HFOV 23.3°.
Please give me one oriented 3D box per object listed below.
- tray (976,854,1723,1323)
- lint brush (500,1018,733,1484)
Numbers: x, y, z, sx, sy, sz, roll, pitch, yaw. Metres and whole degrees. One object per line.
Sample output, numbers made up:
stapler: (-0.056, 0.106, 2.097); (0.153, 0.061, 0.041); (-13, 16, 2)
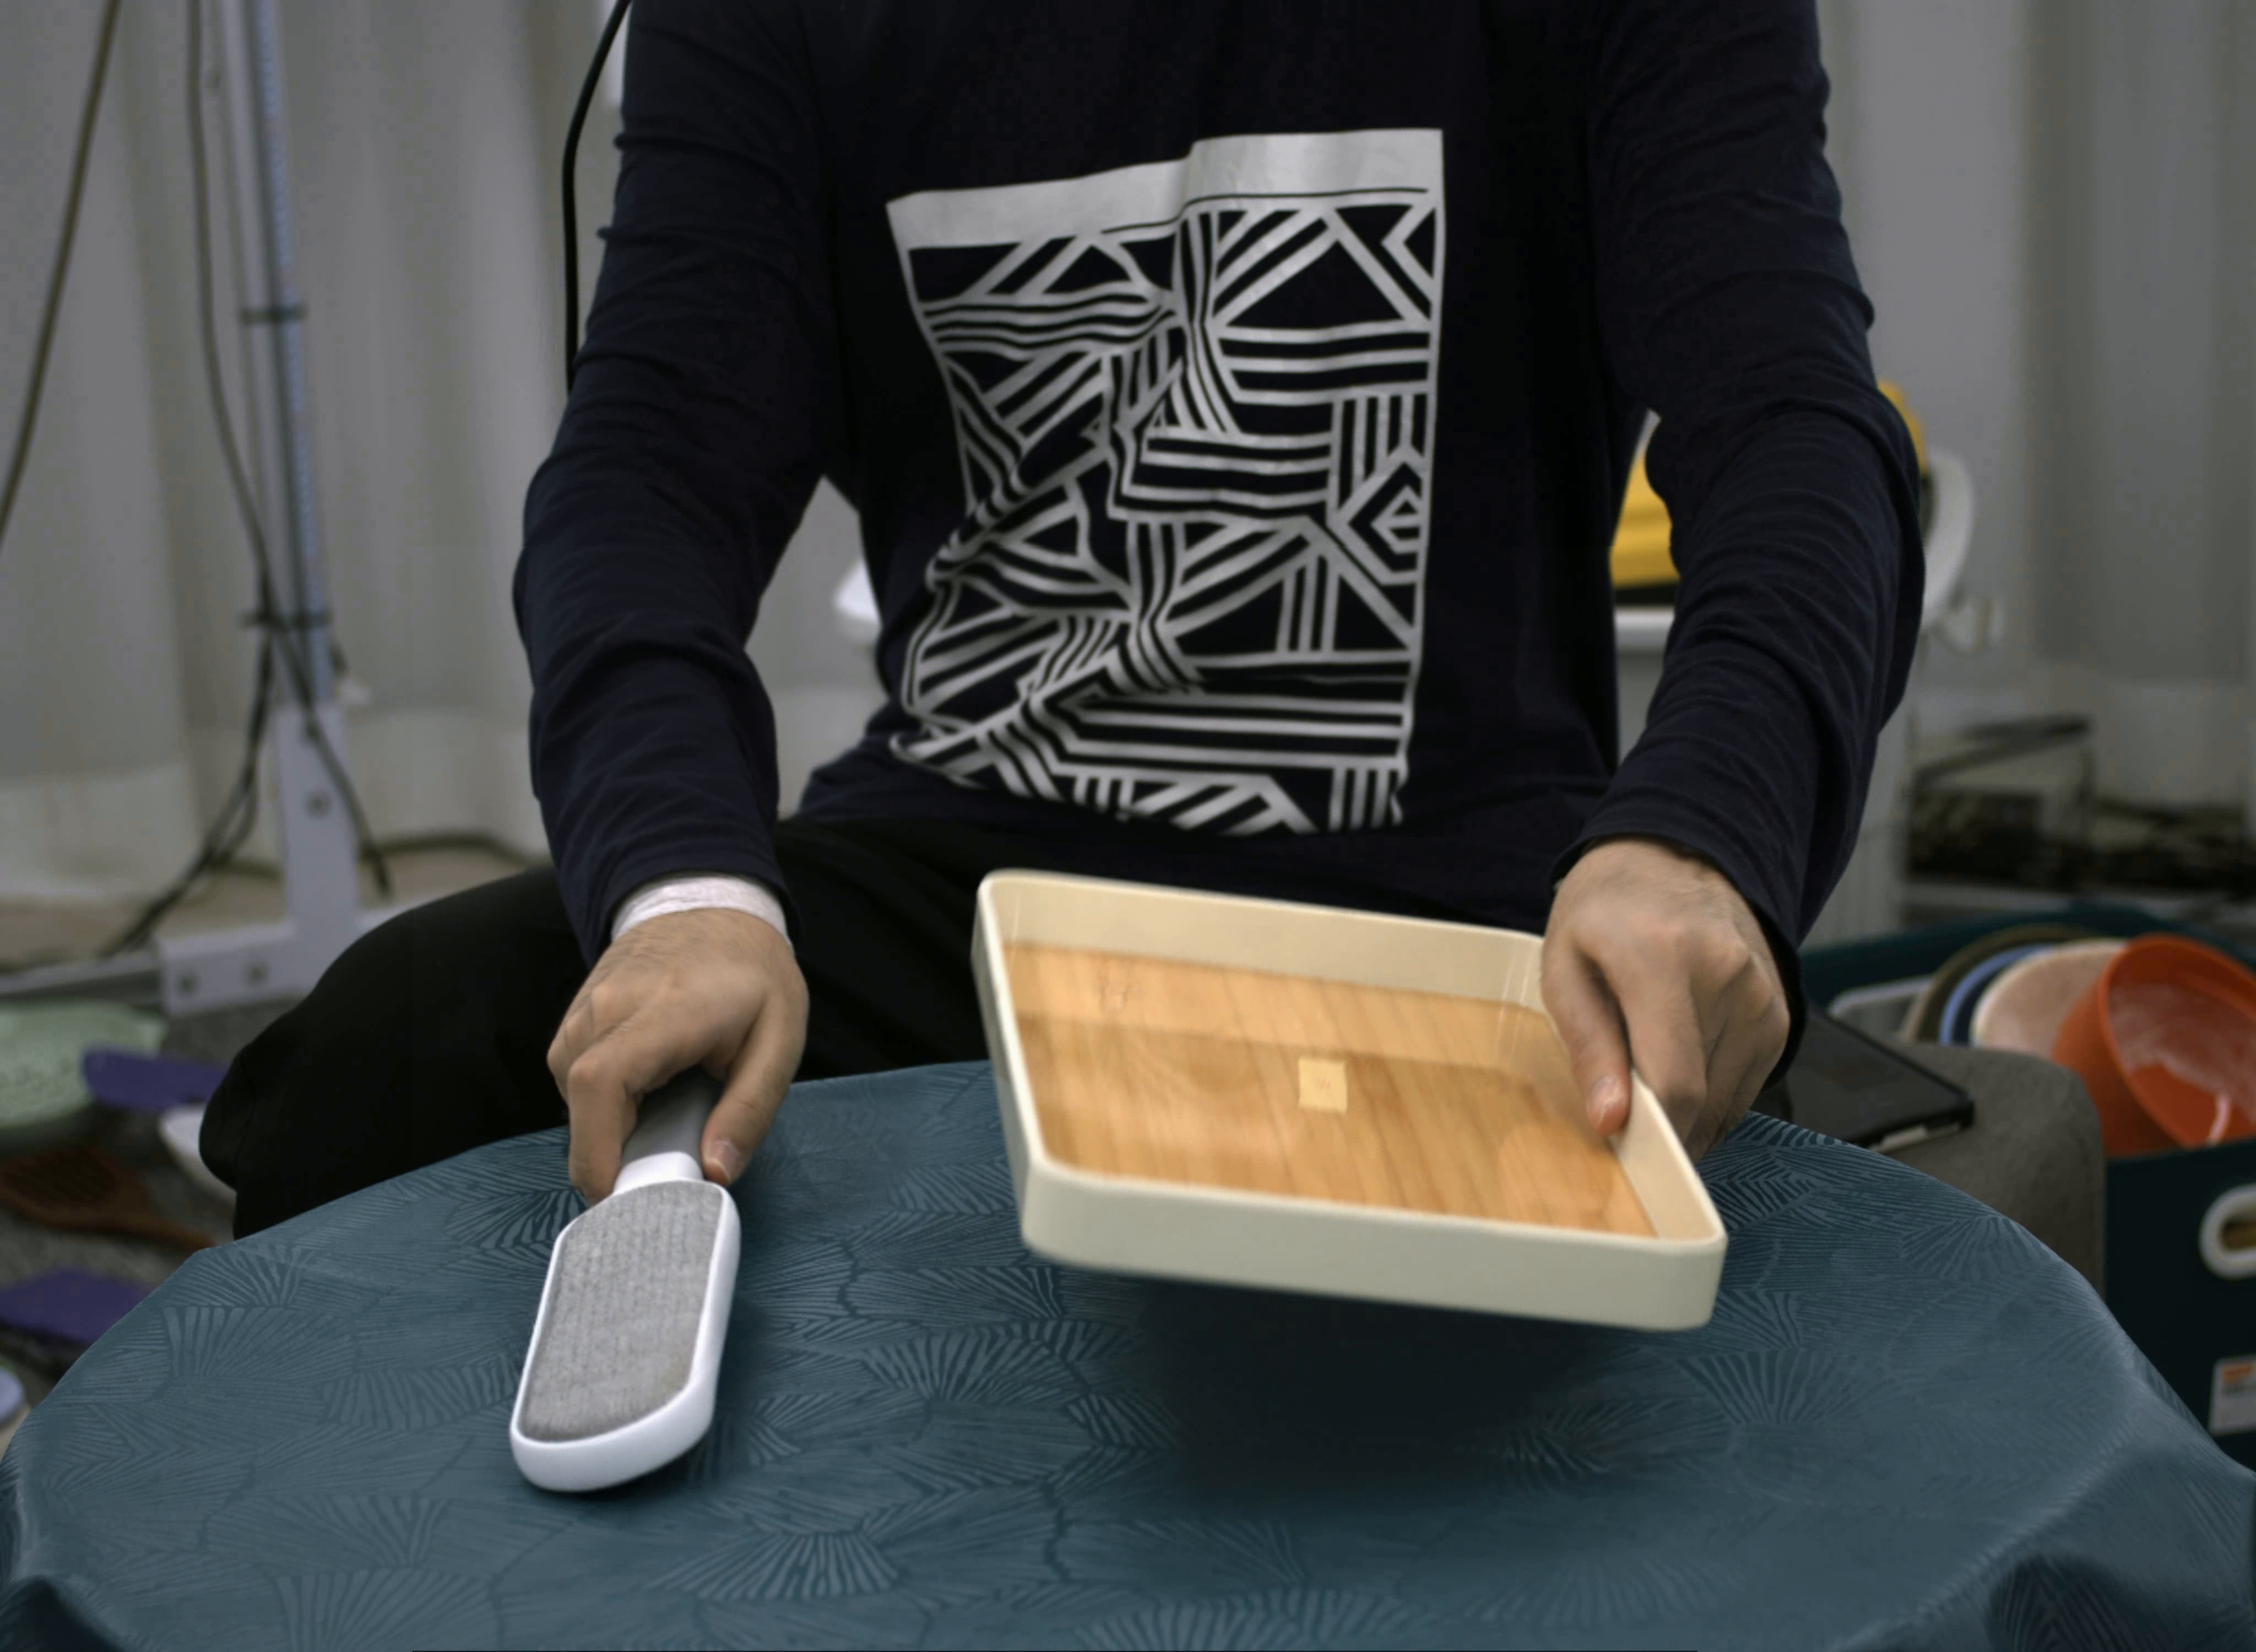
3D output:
tray: (0.055, 0.071, 1.581); (0.191, 0.027, 0.302); (9, 13, -6)
lint brush: (-0.144, 0.120, 1.623); (0.060, 0.021, 0.311); (-21, 18, 7)
